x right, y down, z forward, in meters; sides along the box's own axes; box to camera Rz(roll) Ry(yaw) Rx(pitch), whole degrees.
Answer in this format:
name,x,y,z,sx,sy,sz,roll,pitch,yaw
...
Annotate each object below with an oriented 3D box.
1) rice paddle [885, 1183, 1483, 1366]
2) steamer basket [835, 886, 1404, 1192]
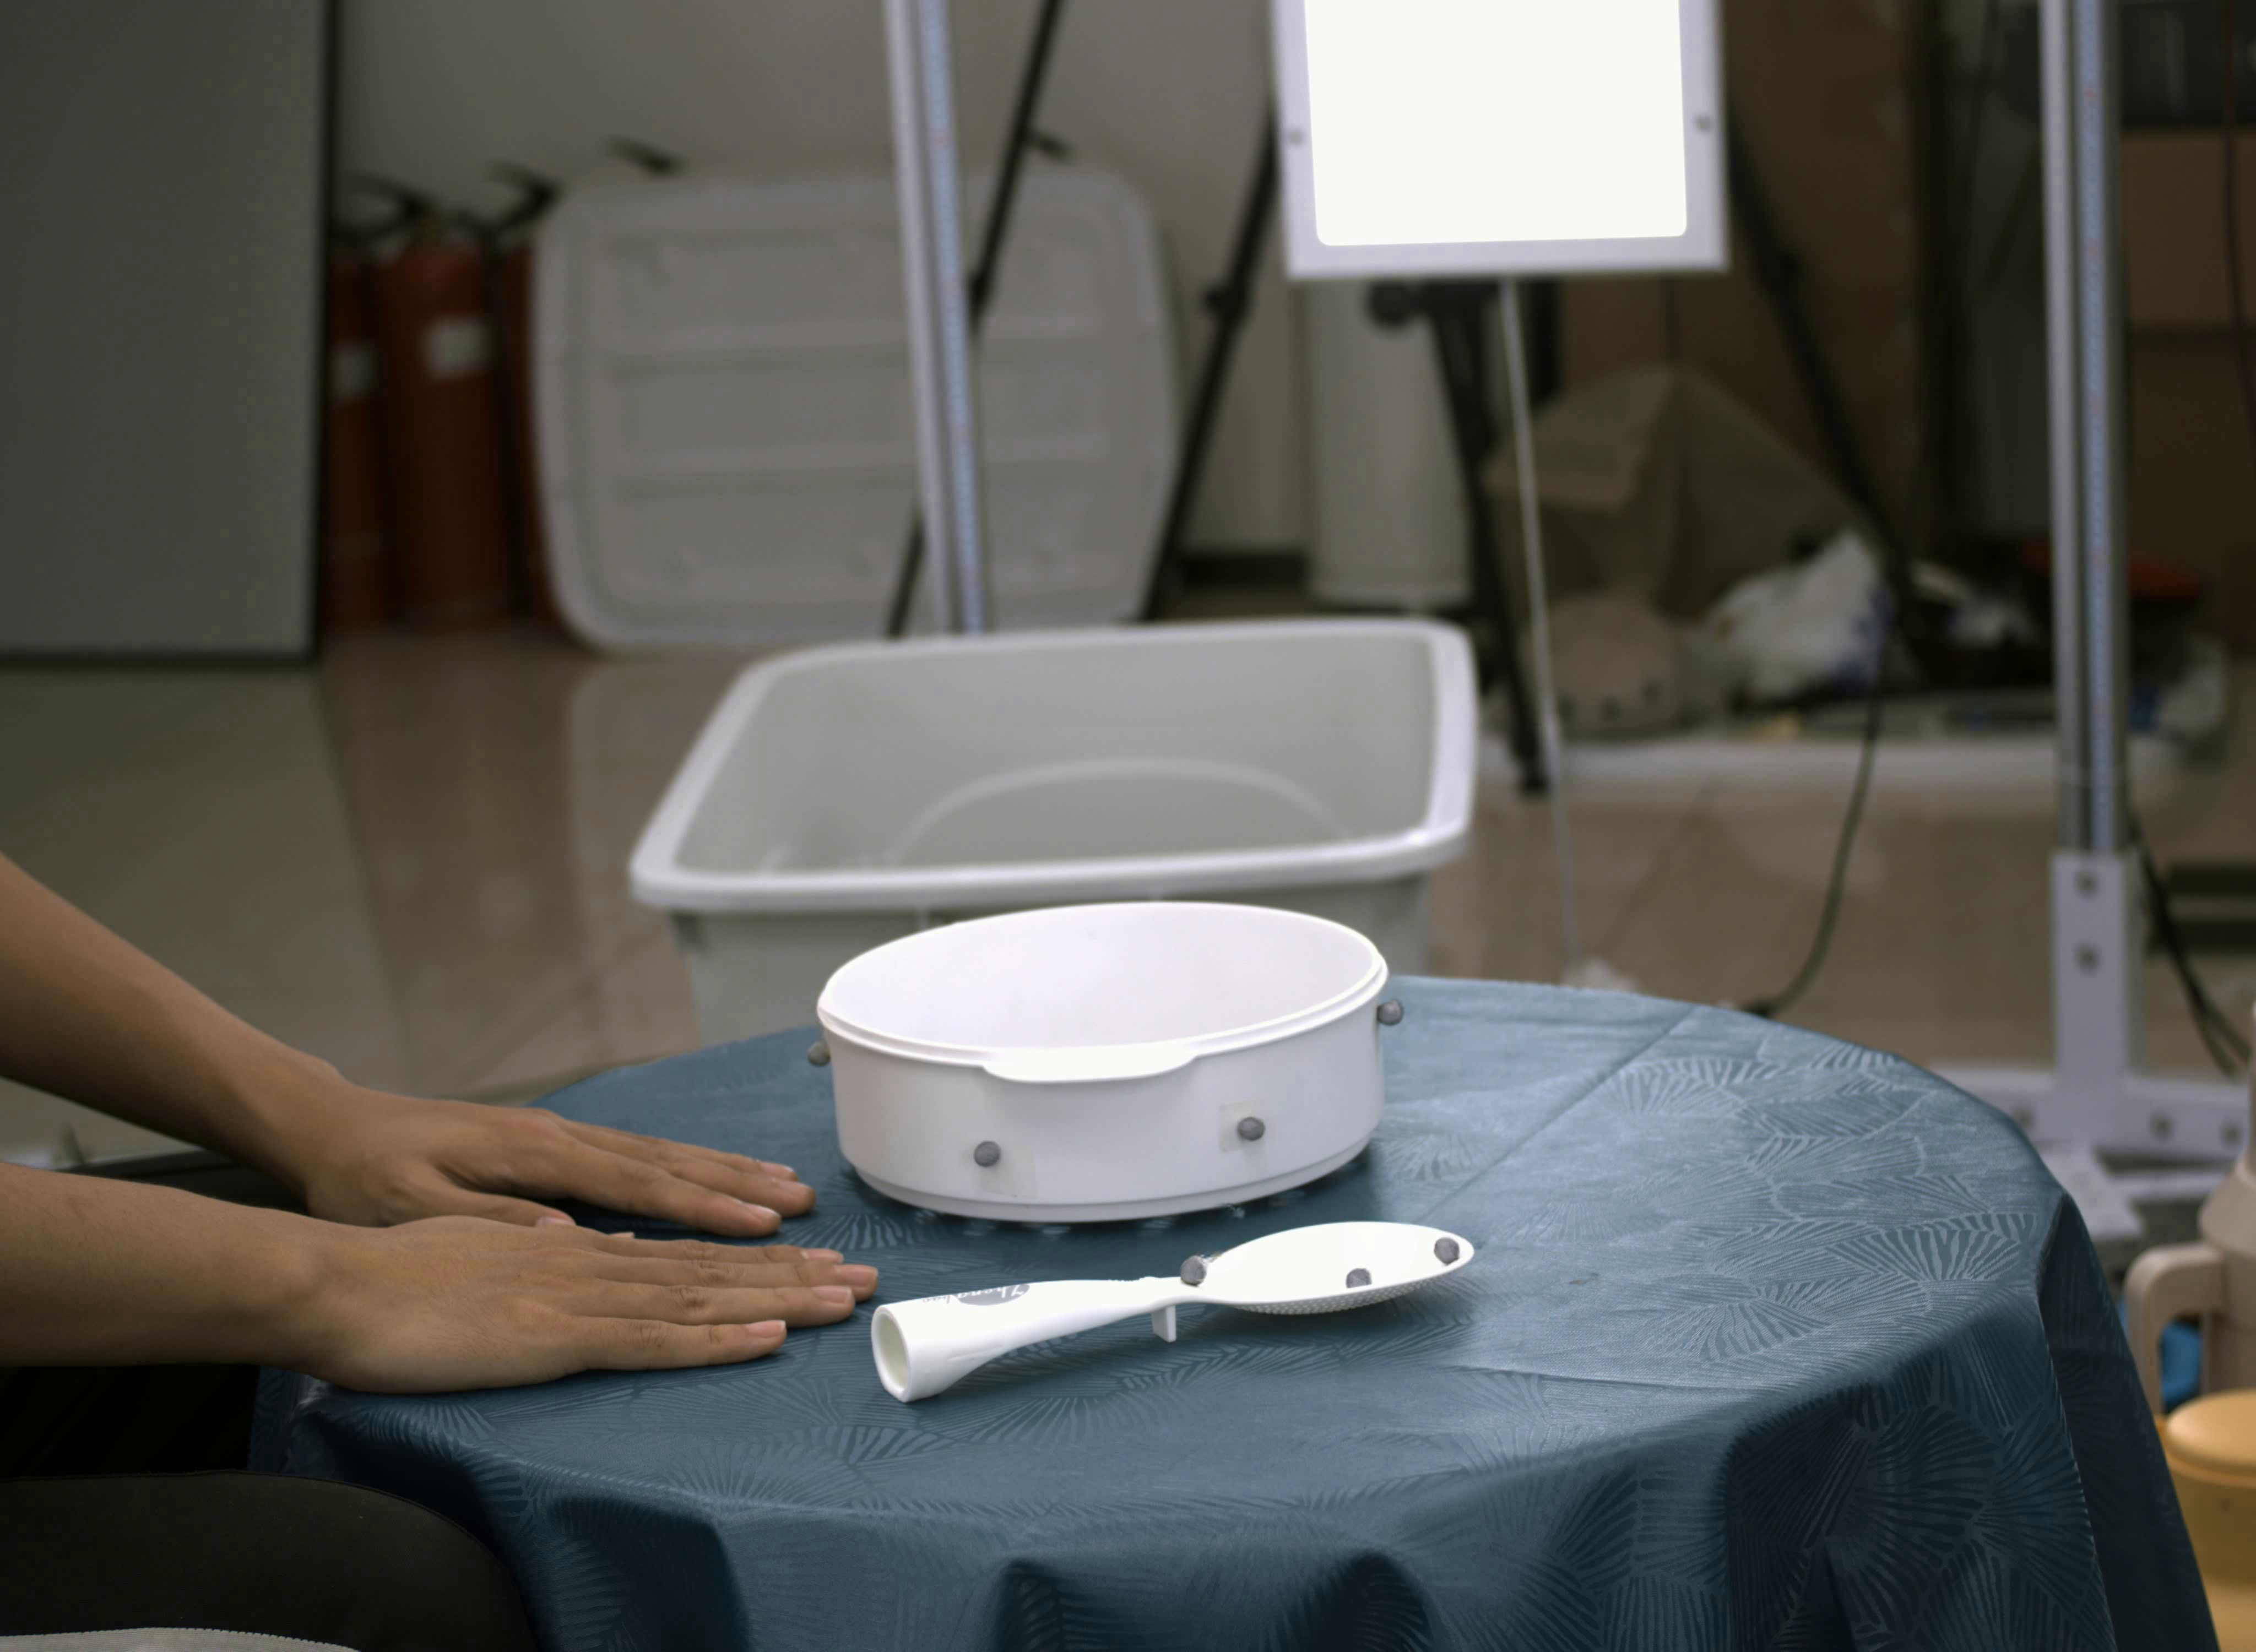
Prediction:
name,x,y,z,sx,sy,sz,roll,pitch,yaw
rice paddle,0.021,0.136,1.756,0.201,0.029,0.070,-10,16,-22
steamer basket,-0.001,0.075,1.945,0.202,0.069,0.229,-3,12,5
